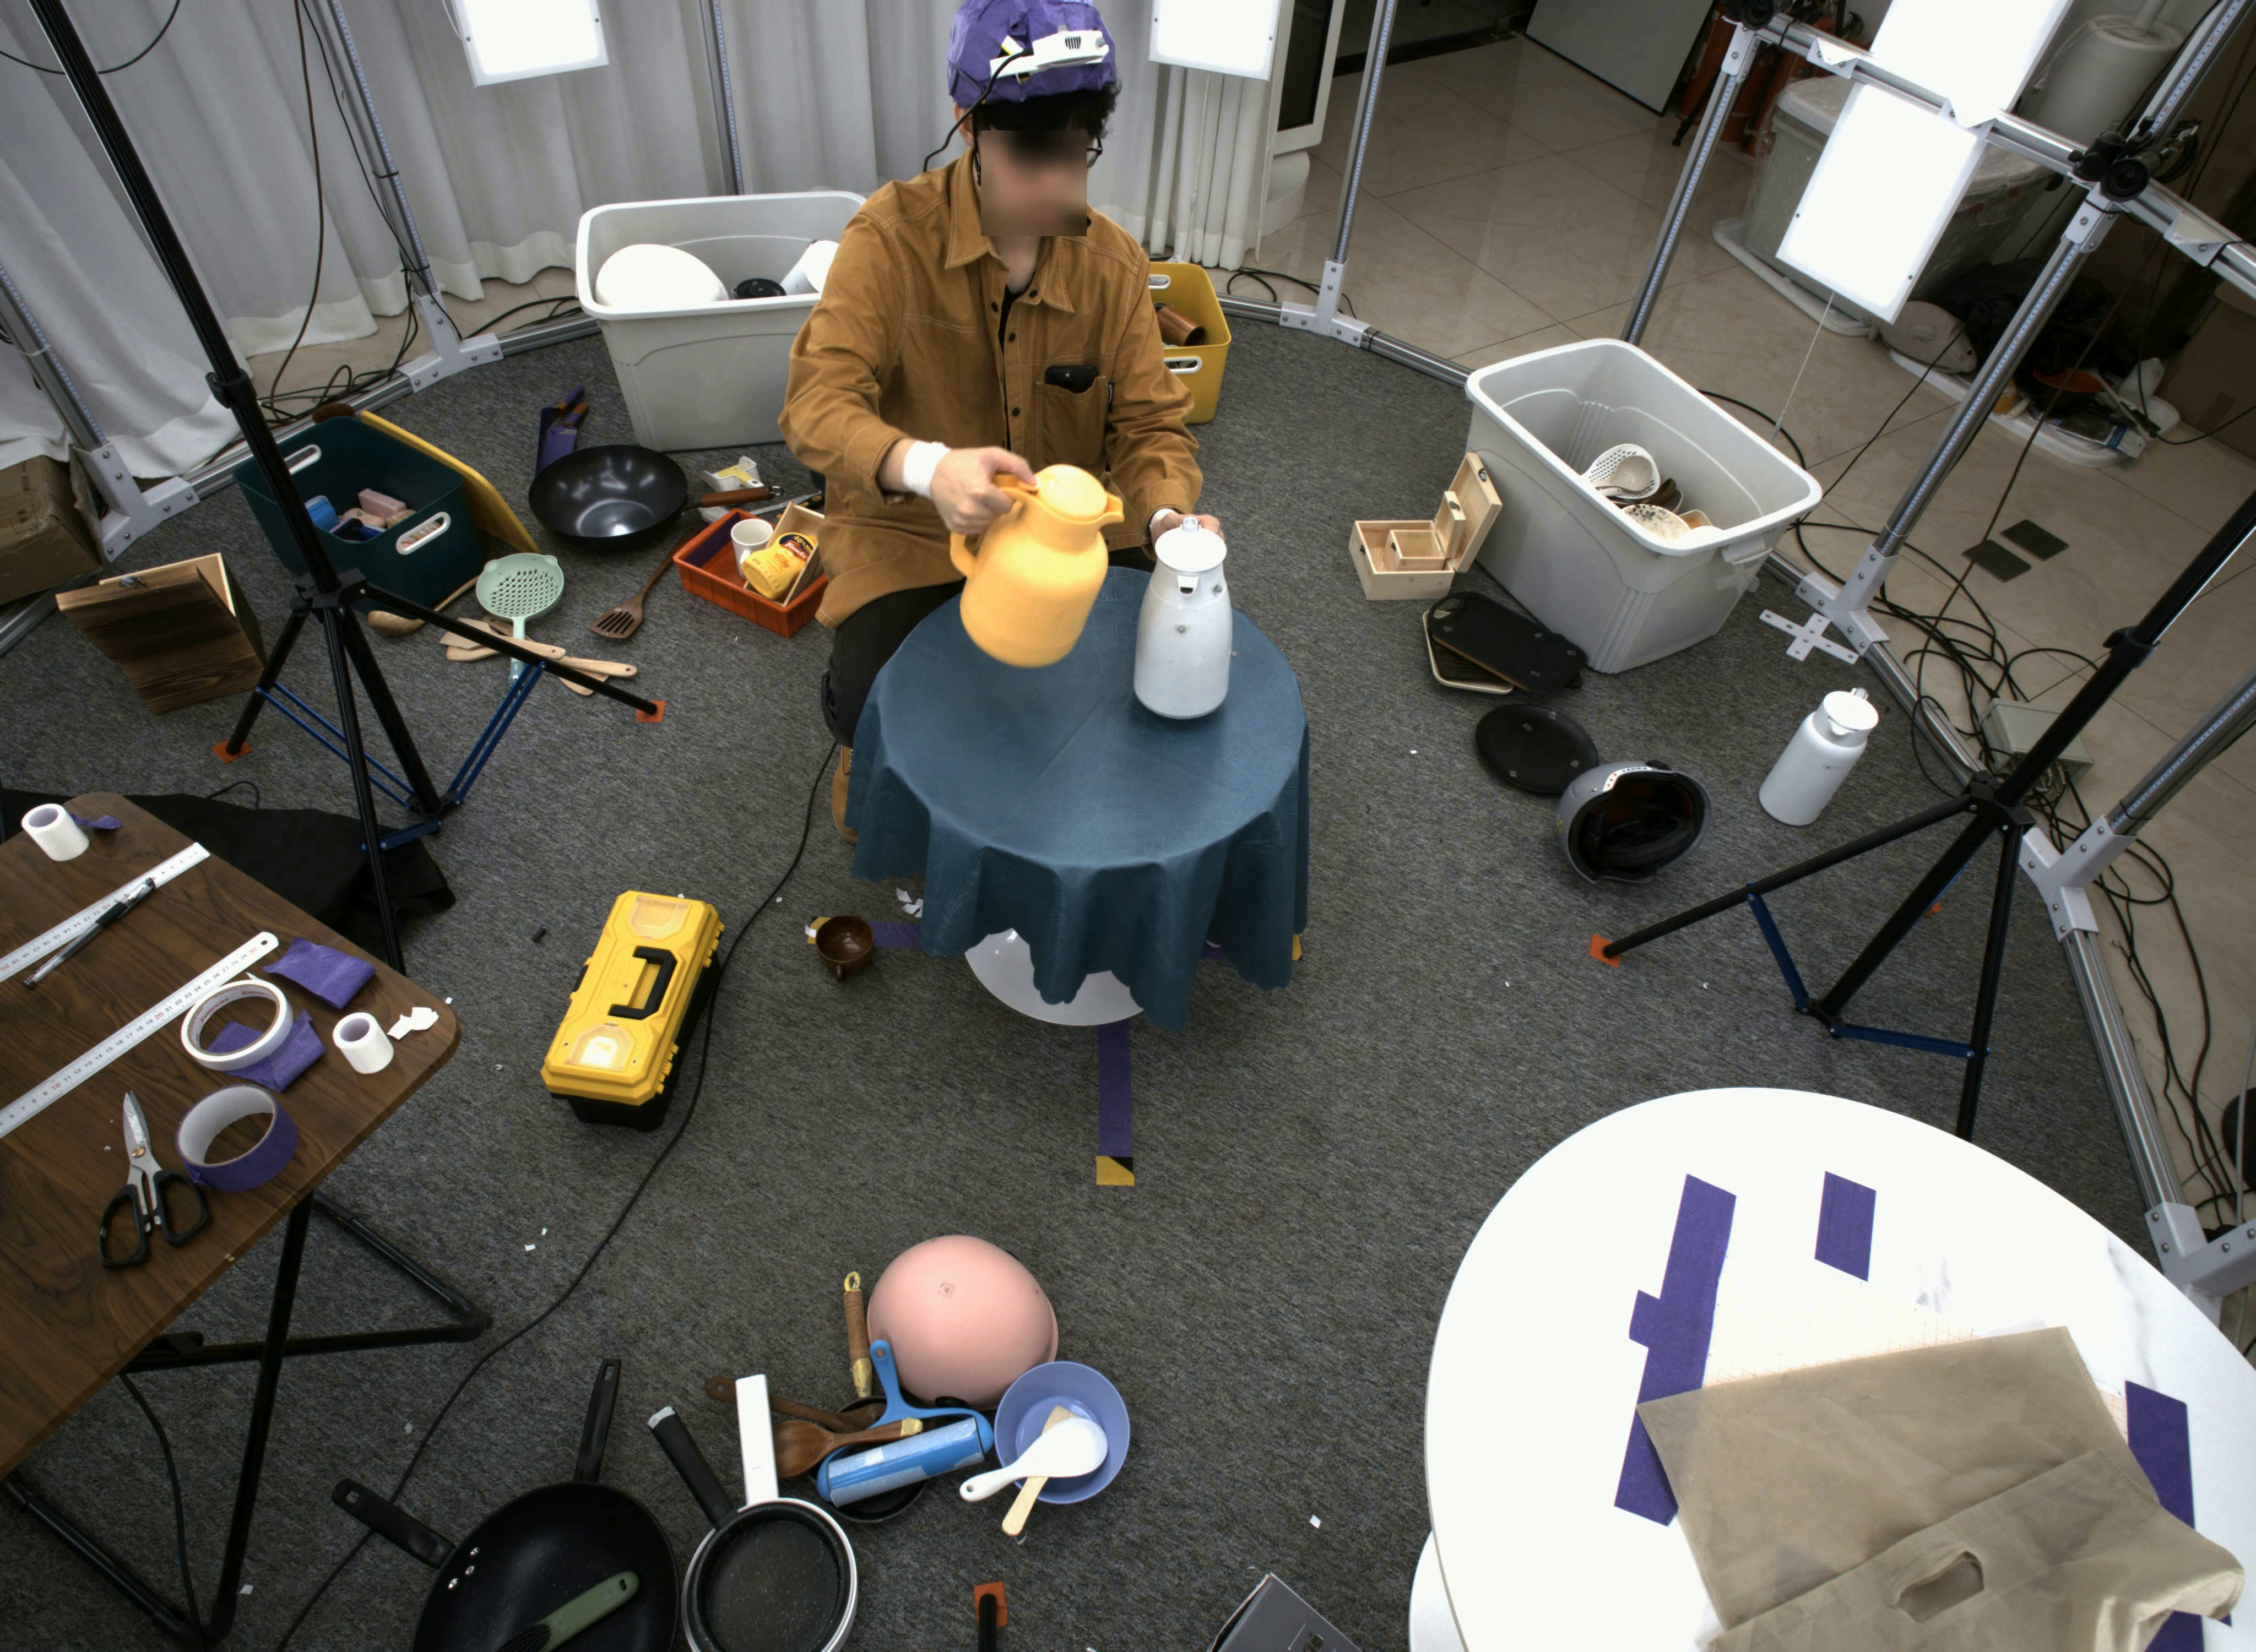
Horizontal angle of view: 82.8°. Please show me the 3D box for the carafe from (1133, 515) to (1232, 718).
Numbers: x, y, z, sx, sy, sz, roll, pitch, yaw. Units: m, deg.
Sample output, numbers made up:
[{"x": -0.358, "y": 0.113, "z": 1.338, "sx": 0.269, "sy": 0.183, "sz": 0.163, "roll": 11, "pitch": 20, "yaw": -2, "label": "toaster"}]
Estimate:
[{"x": 0.077, "y": -0.293, "z": 1.731, "sx": 0.132, "sy": 0.242, "sz": 0.172, "roll": 4, "pitch": 47, "yaw": 3, "label": "carafe"}]

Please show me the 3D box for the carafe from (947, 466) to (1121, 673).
[{"x": -0.129, "y": -0.330, "z": 1.615, "sx": 0.201, "sy": 0.255, "sz": 0.167, "roll": 11, "pitch": 48, "yaw": -16, "label": "carafe"}]
